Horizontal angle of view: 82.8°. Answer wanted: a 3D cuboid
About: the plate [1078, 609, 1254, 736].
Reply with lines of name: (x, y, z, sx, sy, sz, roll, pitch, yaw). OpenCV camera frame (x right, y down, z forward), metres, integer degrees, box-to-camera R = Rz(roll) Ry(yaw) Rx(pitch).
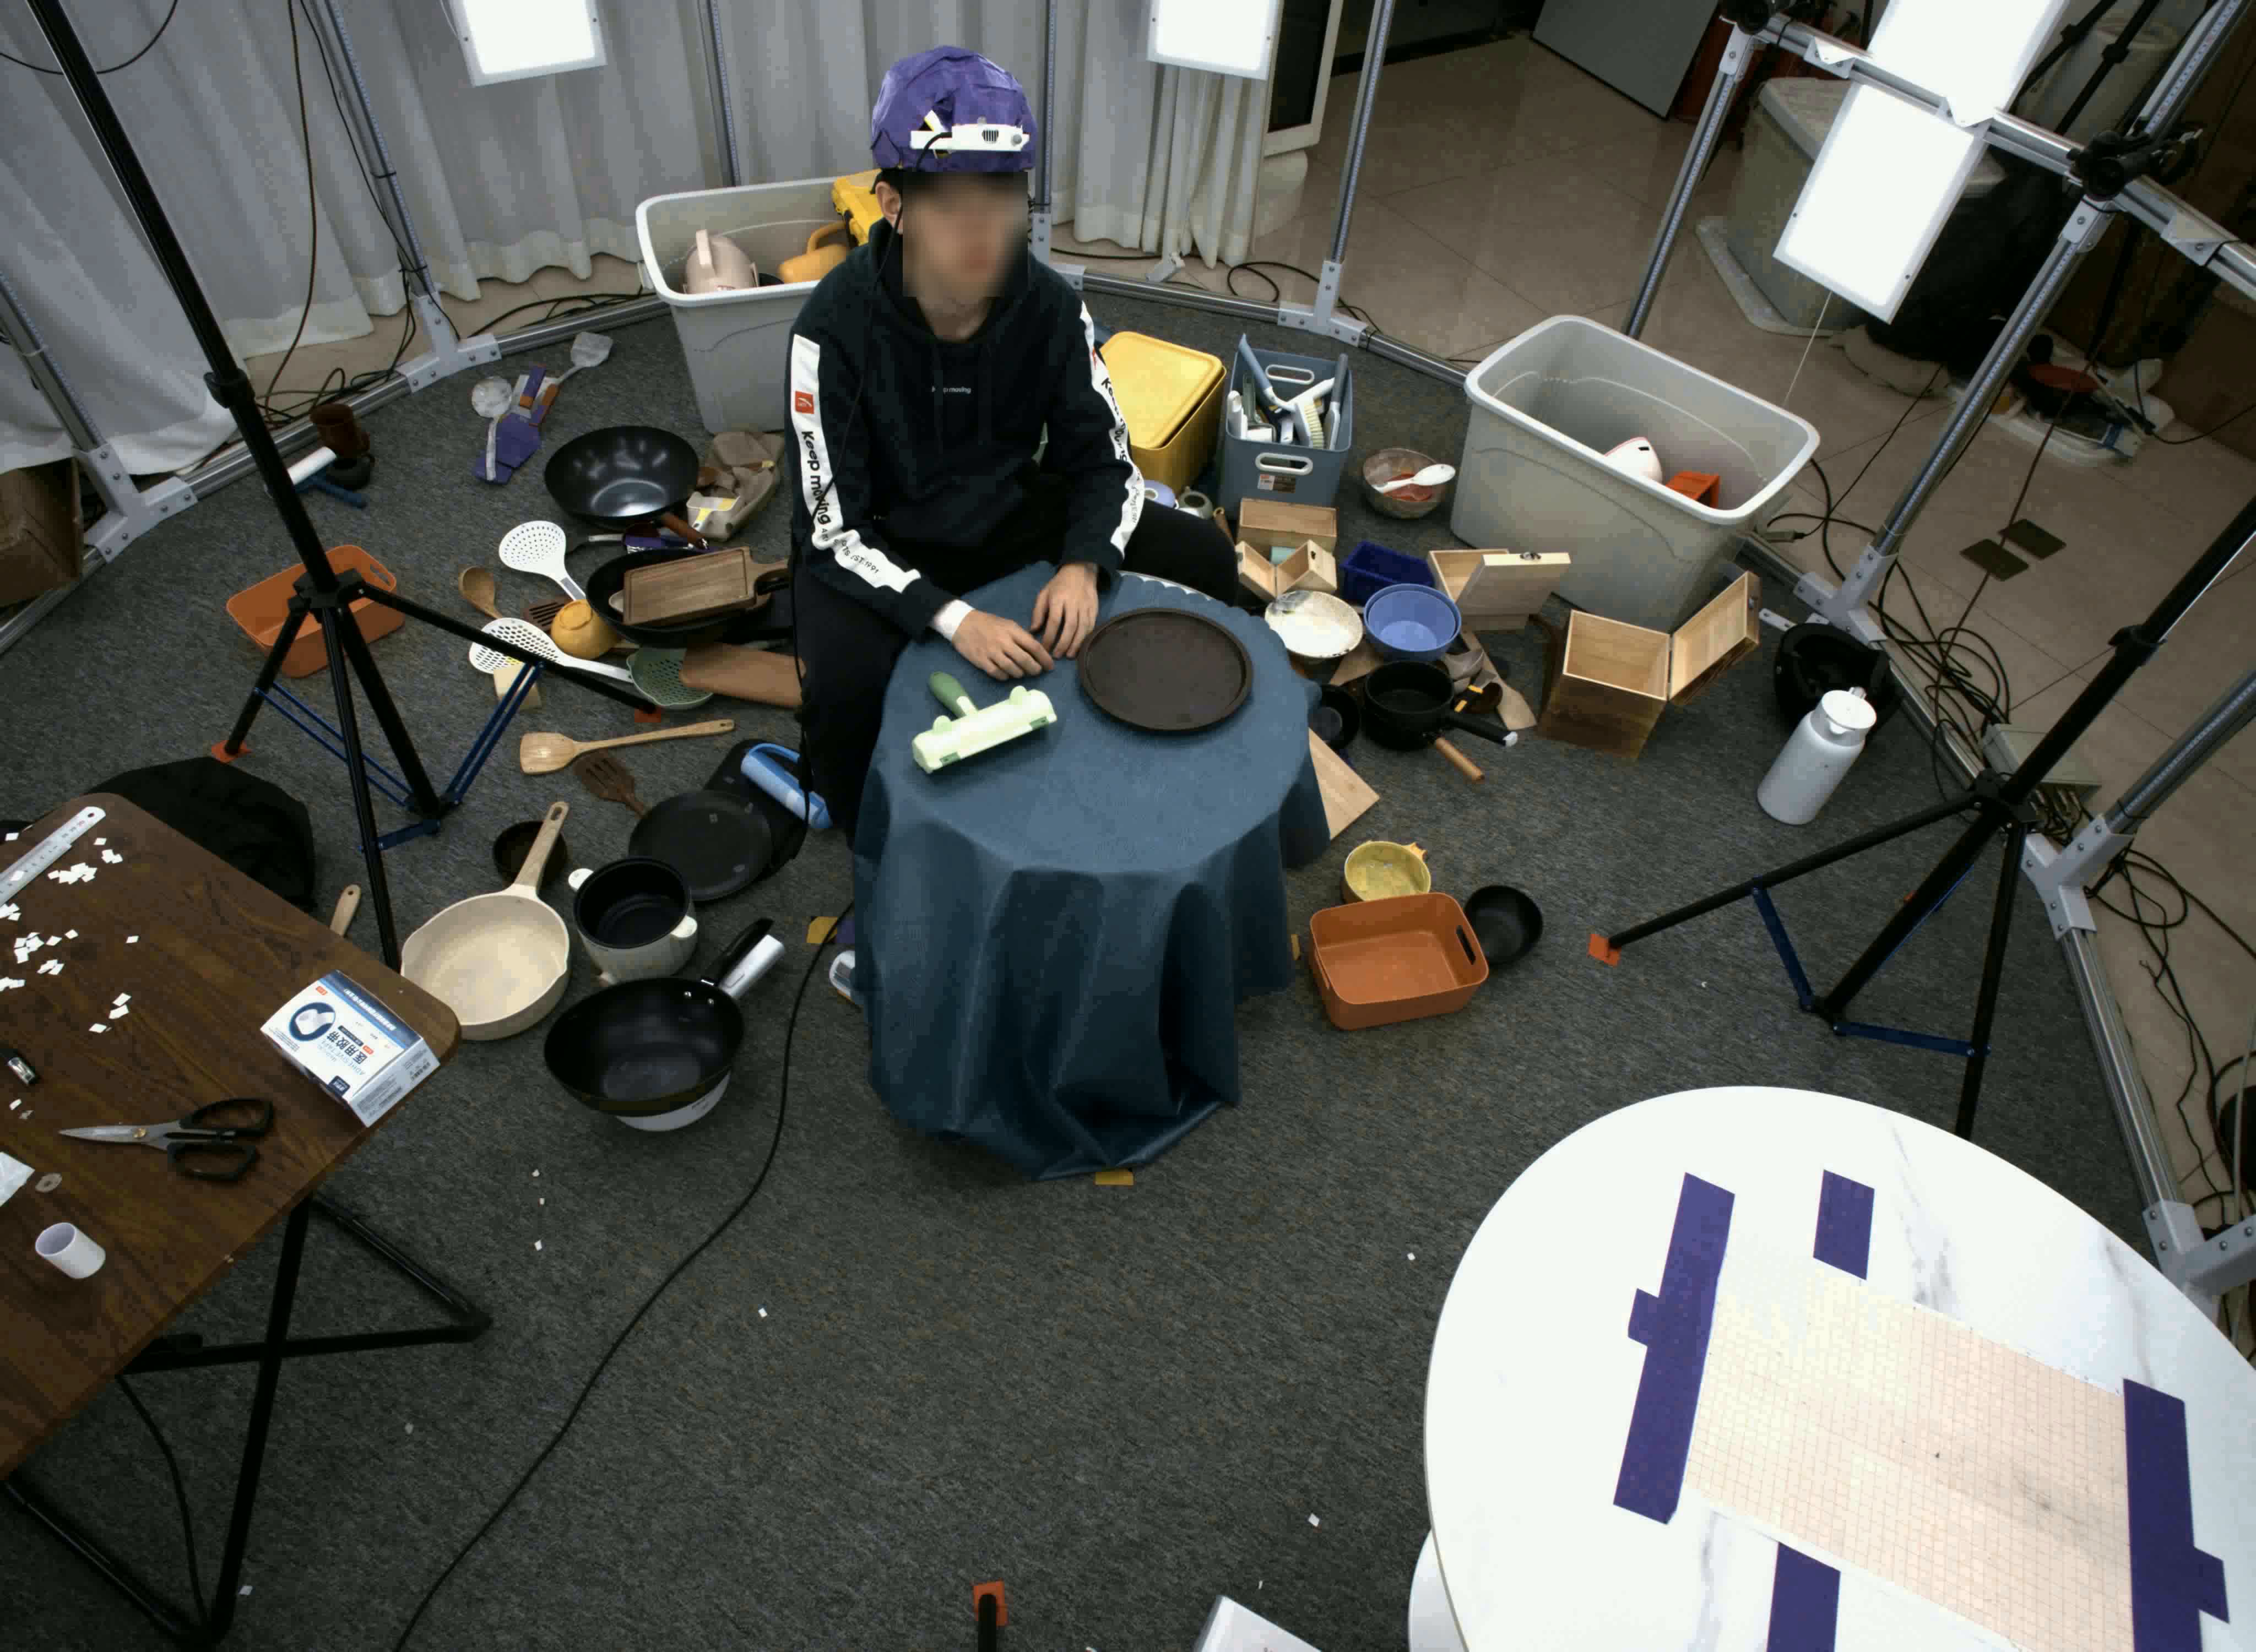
plate: (0.055, -0.223, 1.850, 0.254, 0.028, 0.261, 1, 50, -2)

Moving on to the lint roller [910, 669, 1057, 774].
lint roller: (-0.223, -0.171, 1.750, 0.199, 0.080, 0.187, -24, 58, -22)
